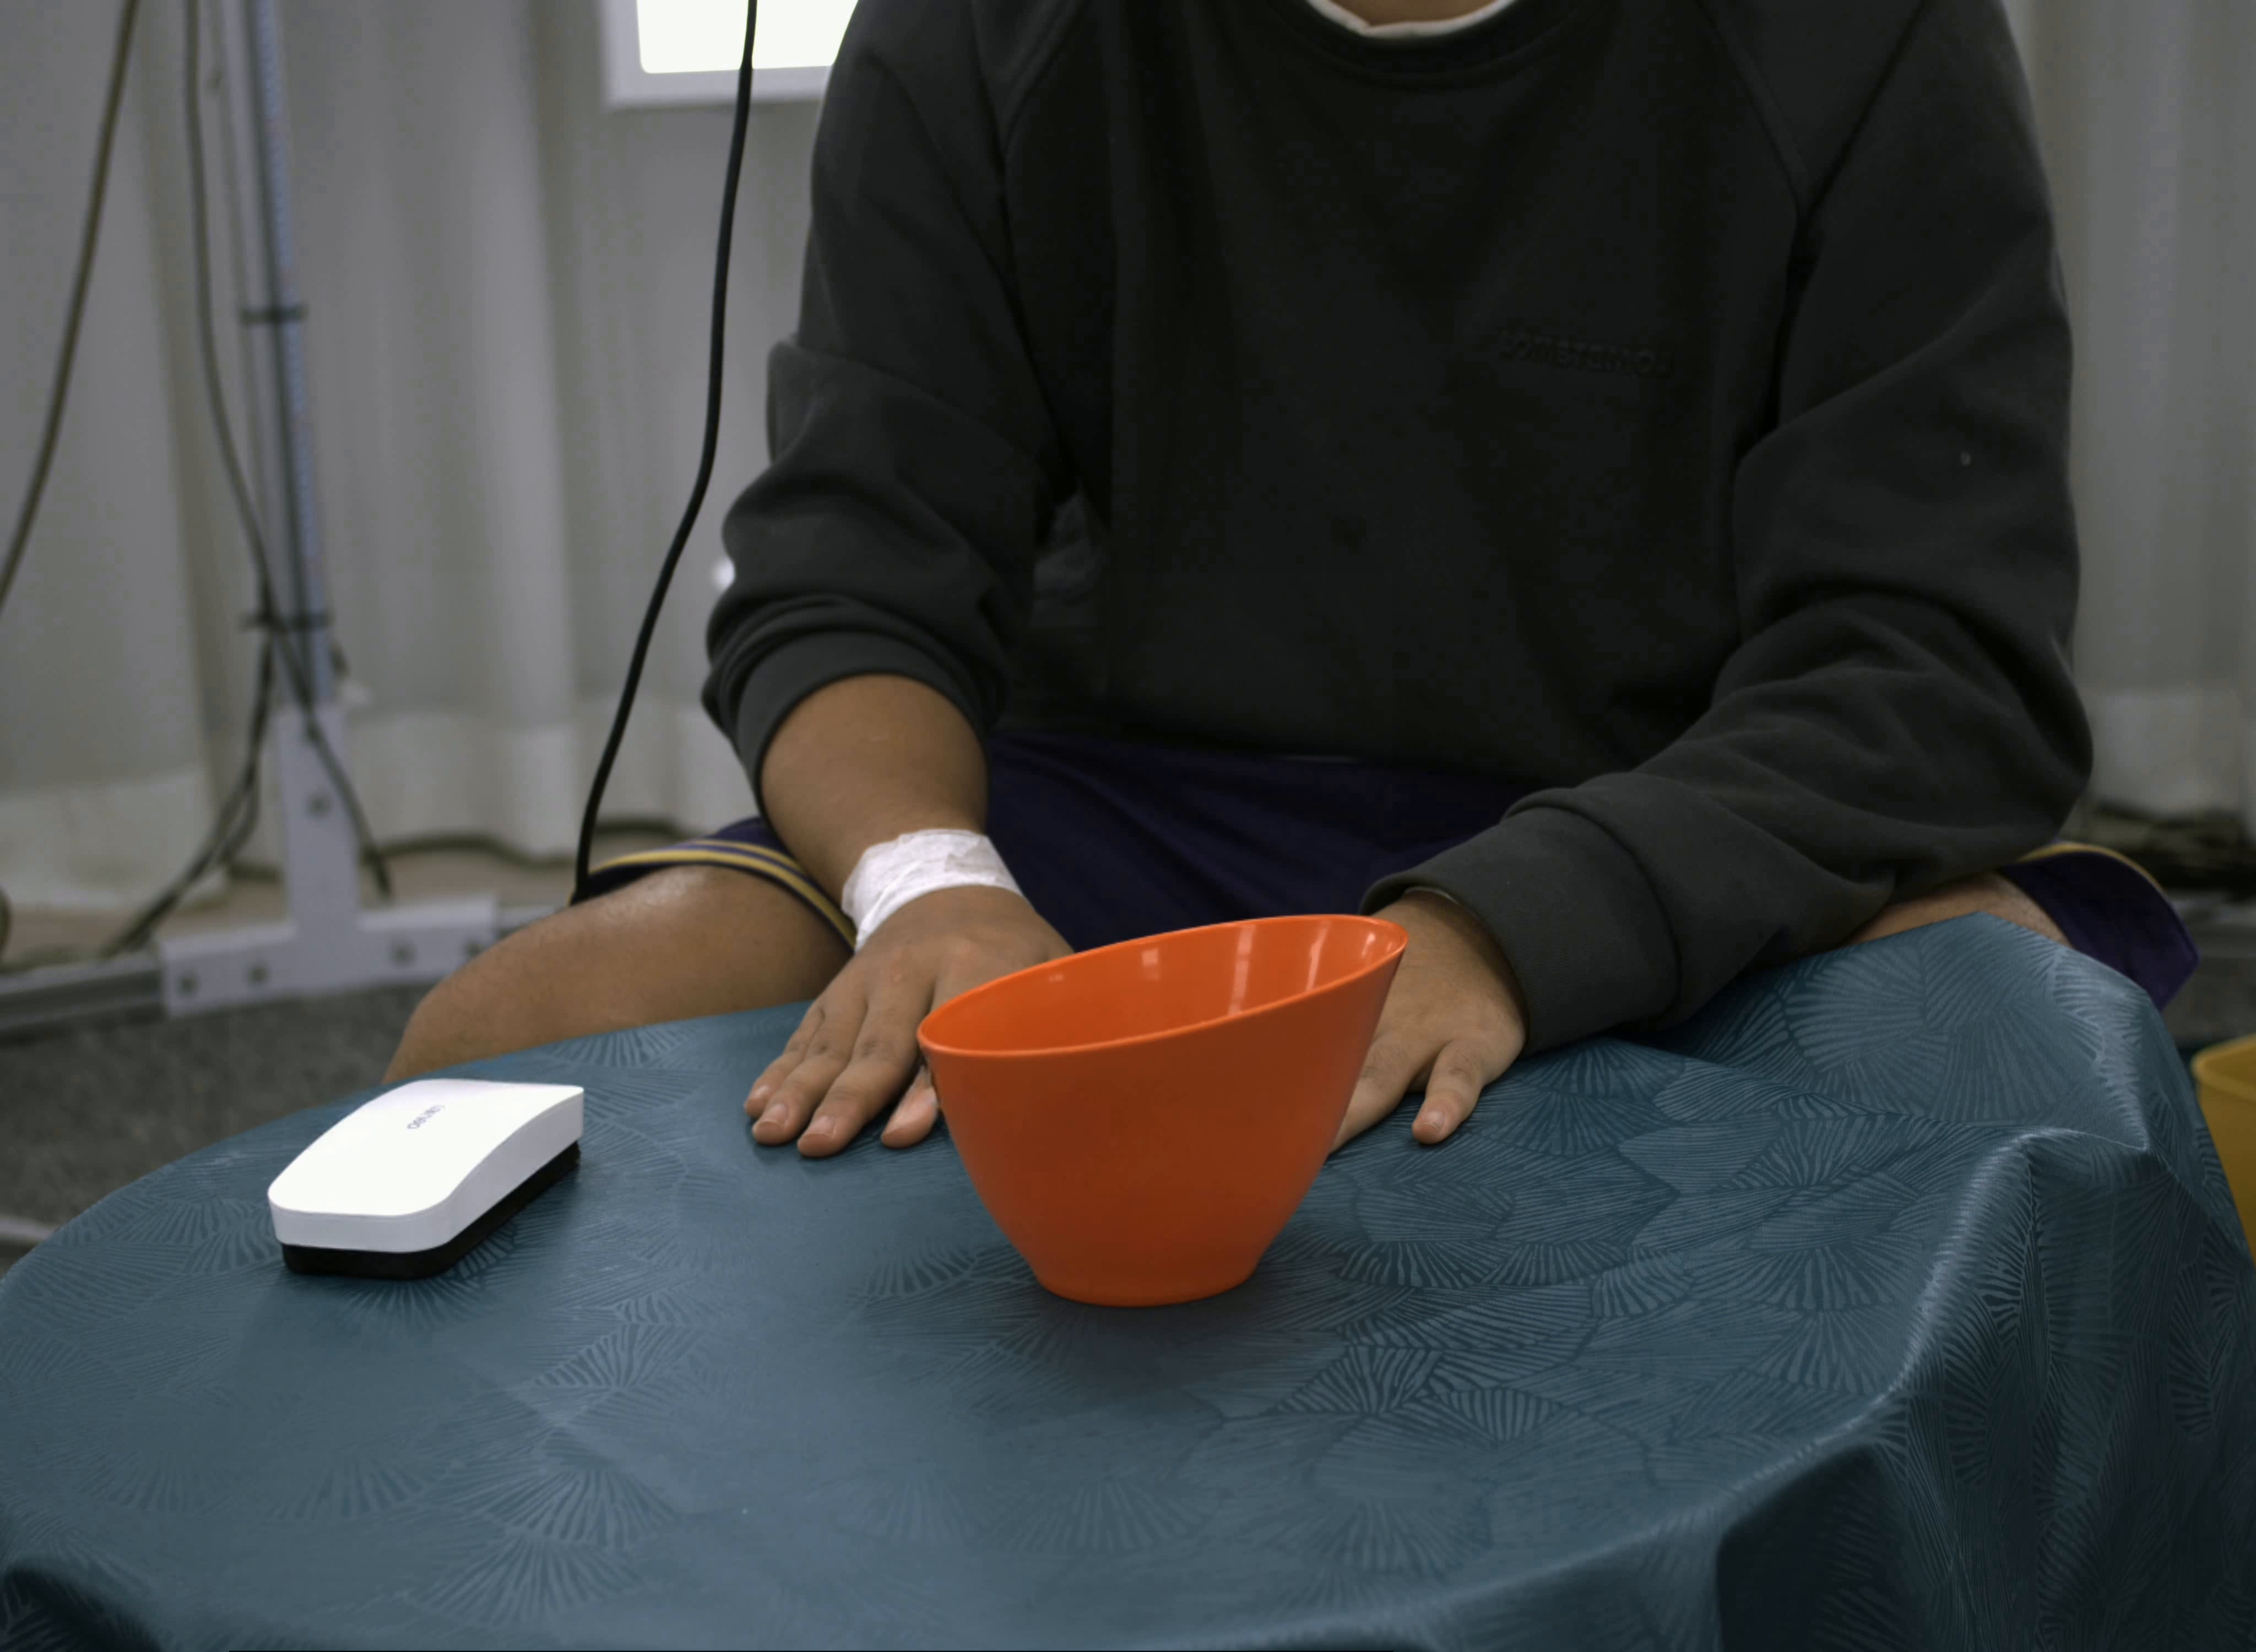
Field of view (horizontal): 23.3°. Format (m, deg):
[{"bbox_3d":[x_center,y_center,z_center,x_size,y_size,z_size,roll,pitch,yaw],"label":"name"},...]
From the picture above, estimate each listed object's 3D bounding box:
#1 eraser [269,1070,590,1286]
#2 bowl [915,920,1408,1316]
[{"bbox_3d":[-0.217,0.107,1.725,0.063,0.034,0.132,3,18,19],"label":"eraser"},{"bbox_3d":[0.012,0.087,1.625,0.147,0.104,0.149,-4,14,1],"label":"bowl"}]
